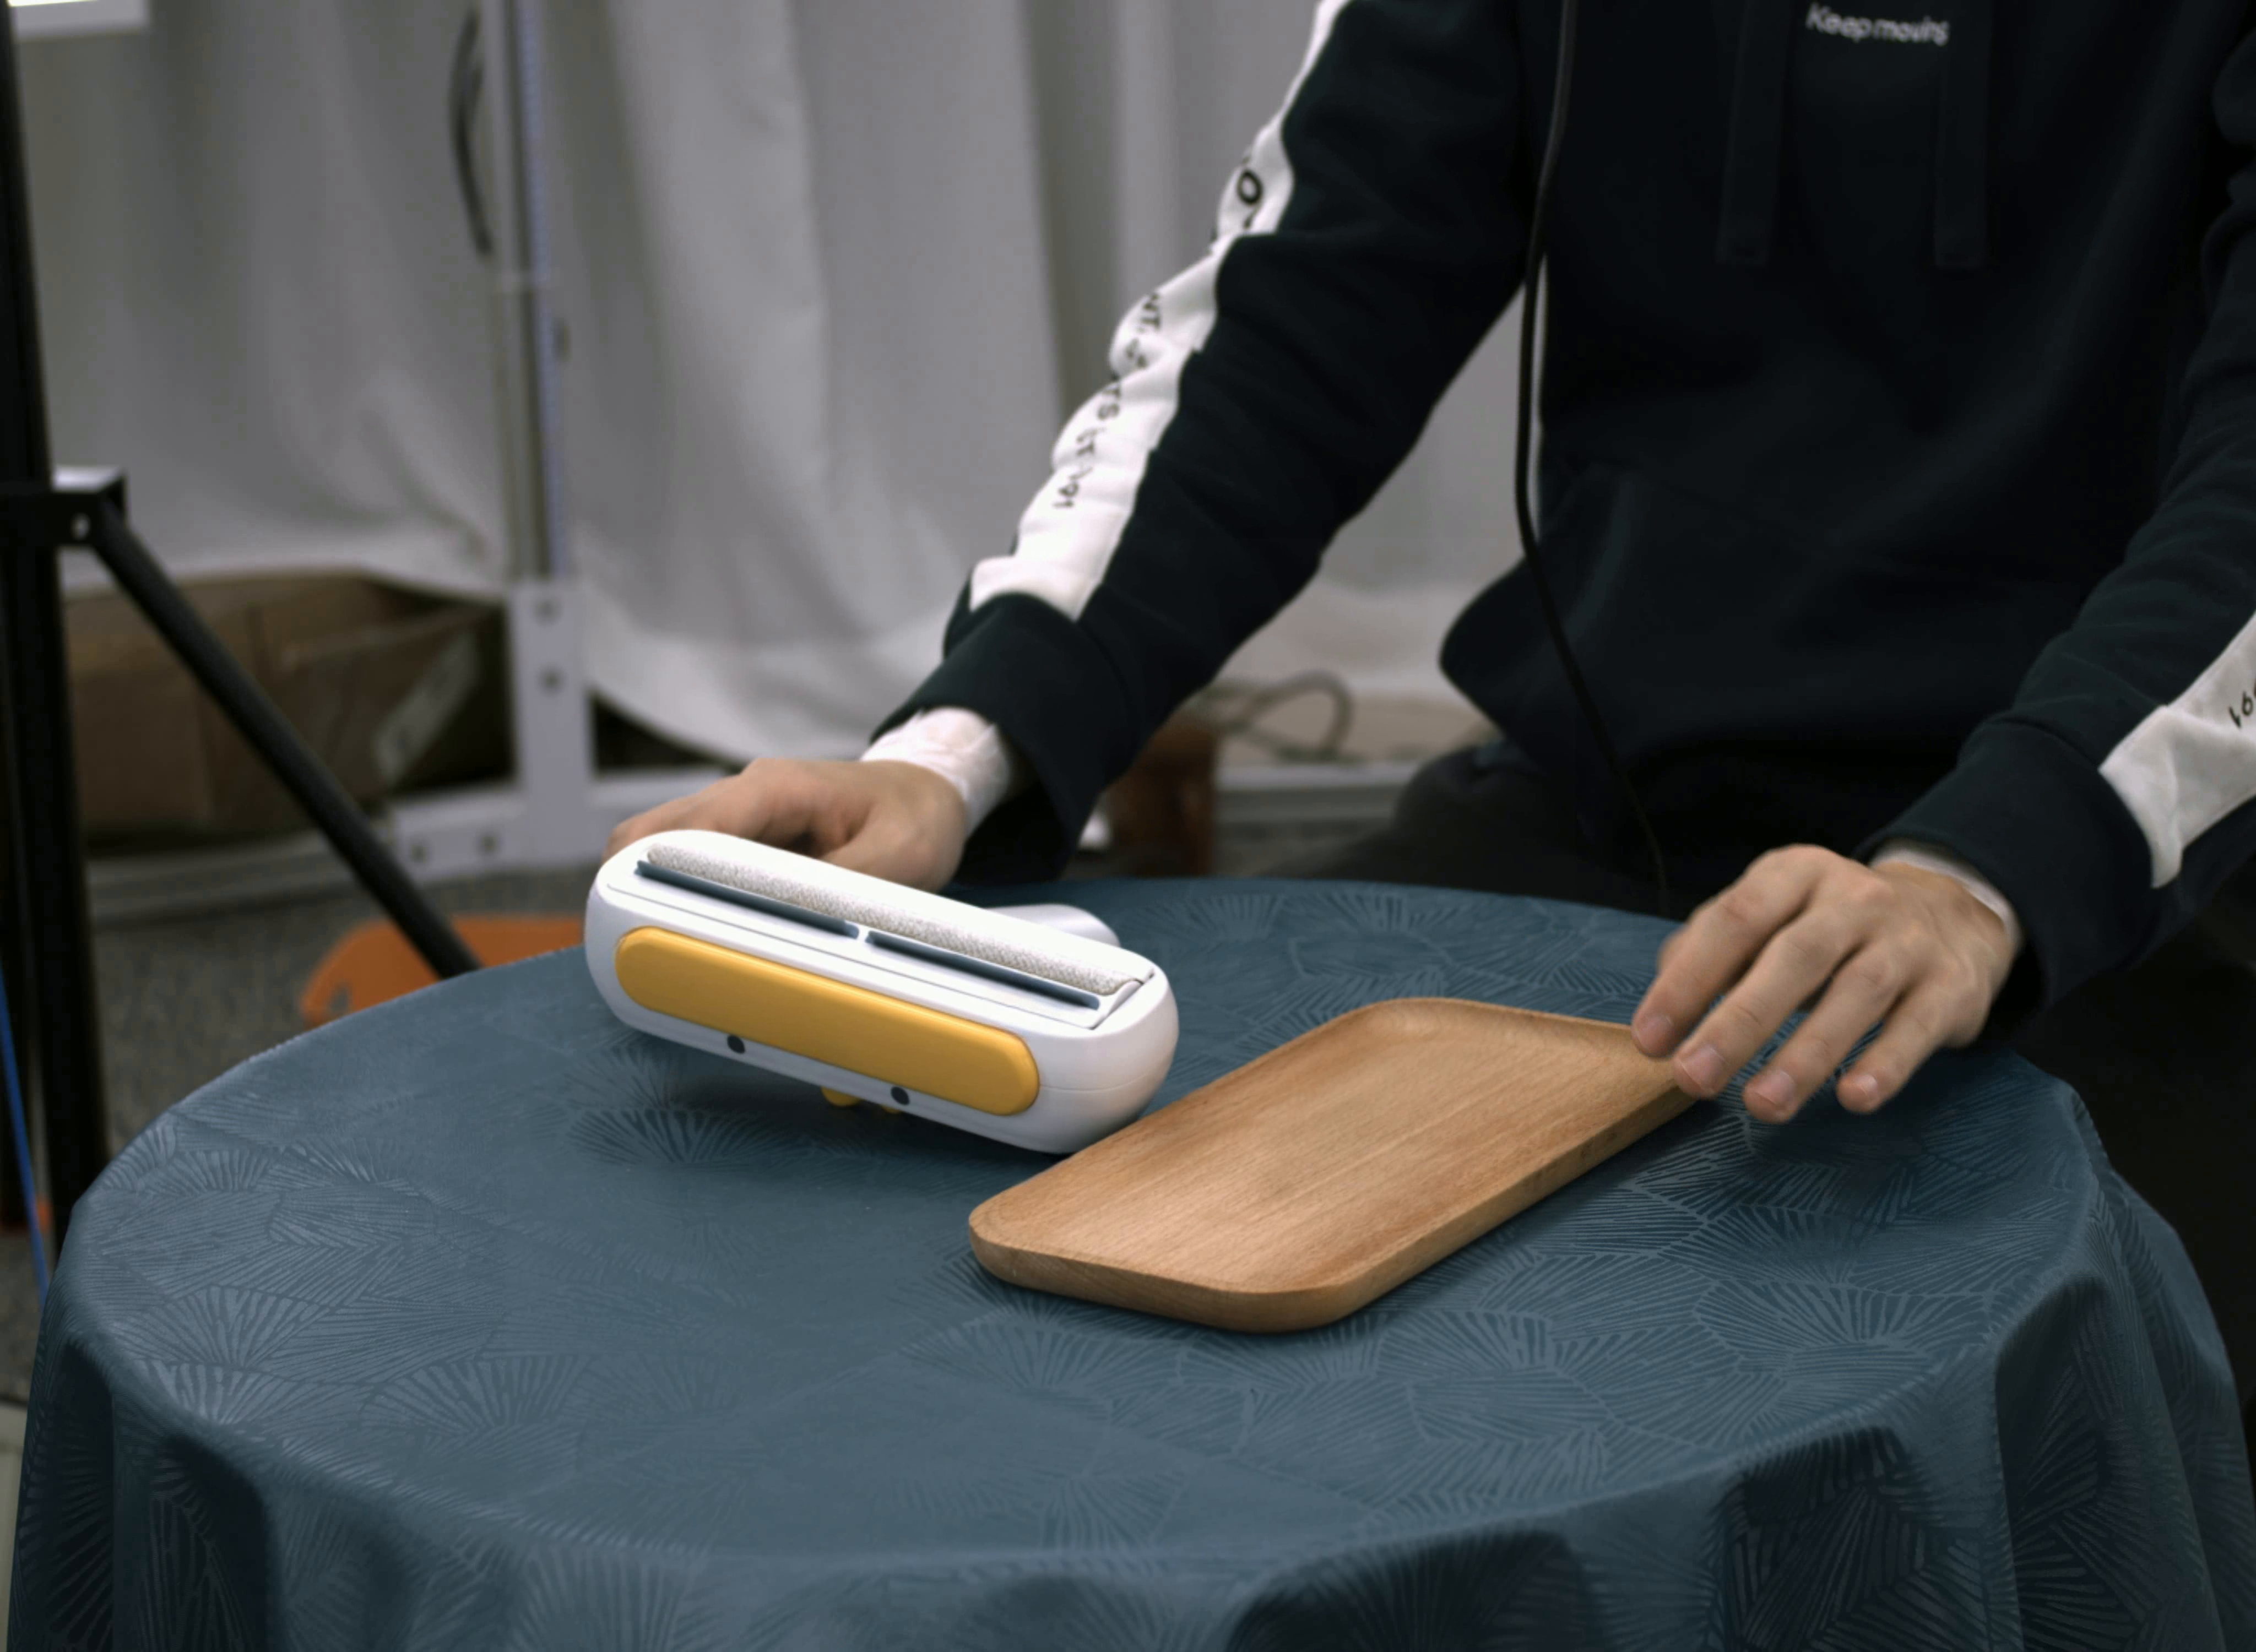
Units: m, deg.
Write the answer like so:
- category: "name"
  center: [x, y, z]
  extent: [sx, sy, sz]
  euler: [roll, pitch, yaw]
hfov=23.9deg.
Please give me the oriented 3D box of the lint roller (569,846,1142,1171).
- category: "lint roller"
  center: [-0.057, 0.060, 1.679]
  extent: [0.196, 0.074, 0.188]
  euler: [15, 8, 30]

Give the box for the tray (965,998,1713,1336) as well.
- category: "tray"
  center: [0.066, 0.097, 1.555]
  extent: [0.133, 0.023, 0.245]
  euler: [11, 20, 35]
